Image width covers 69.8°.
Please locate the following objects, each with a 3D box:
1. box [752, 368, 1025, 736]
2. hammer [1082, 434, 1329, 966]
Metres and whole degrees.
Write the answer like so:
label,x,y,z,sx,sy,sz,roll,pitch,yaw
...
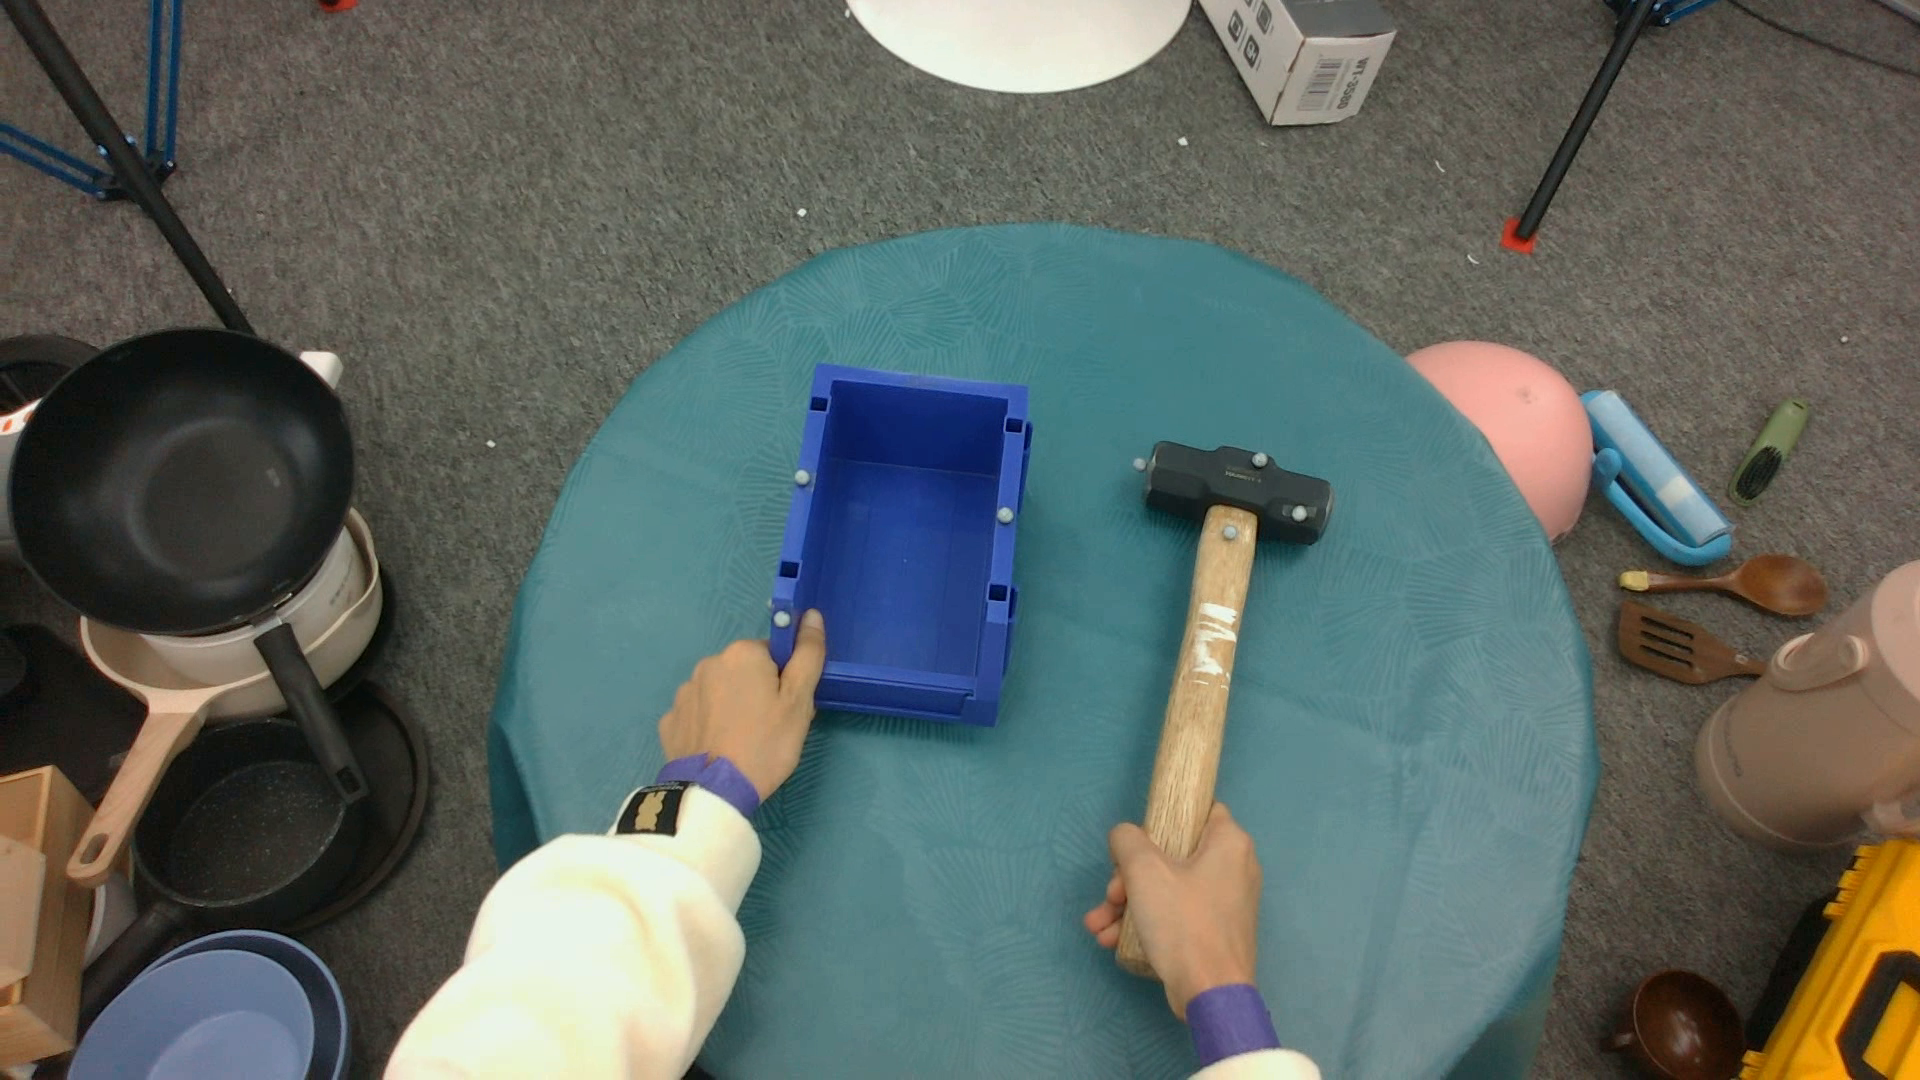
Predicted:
label,x,y,z,sx,sy,sz,roll,pitch,yaw
box,-0.035,0.008,0.743,0.124,0.081,0.180,8,57,0
hammer,0.119,0.075,0.728,0.107,0.038,0.306,17,56,6
